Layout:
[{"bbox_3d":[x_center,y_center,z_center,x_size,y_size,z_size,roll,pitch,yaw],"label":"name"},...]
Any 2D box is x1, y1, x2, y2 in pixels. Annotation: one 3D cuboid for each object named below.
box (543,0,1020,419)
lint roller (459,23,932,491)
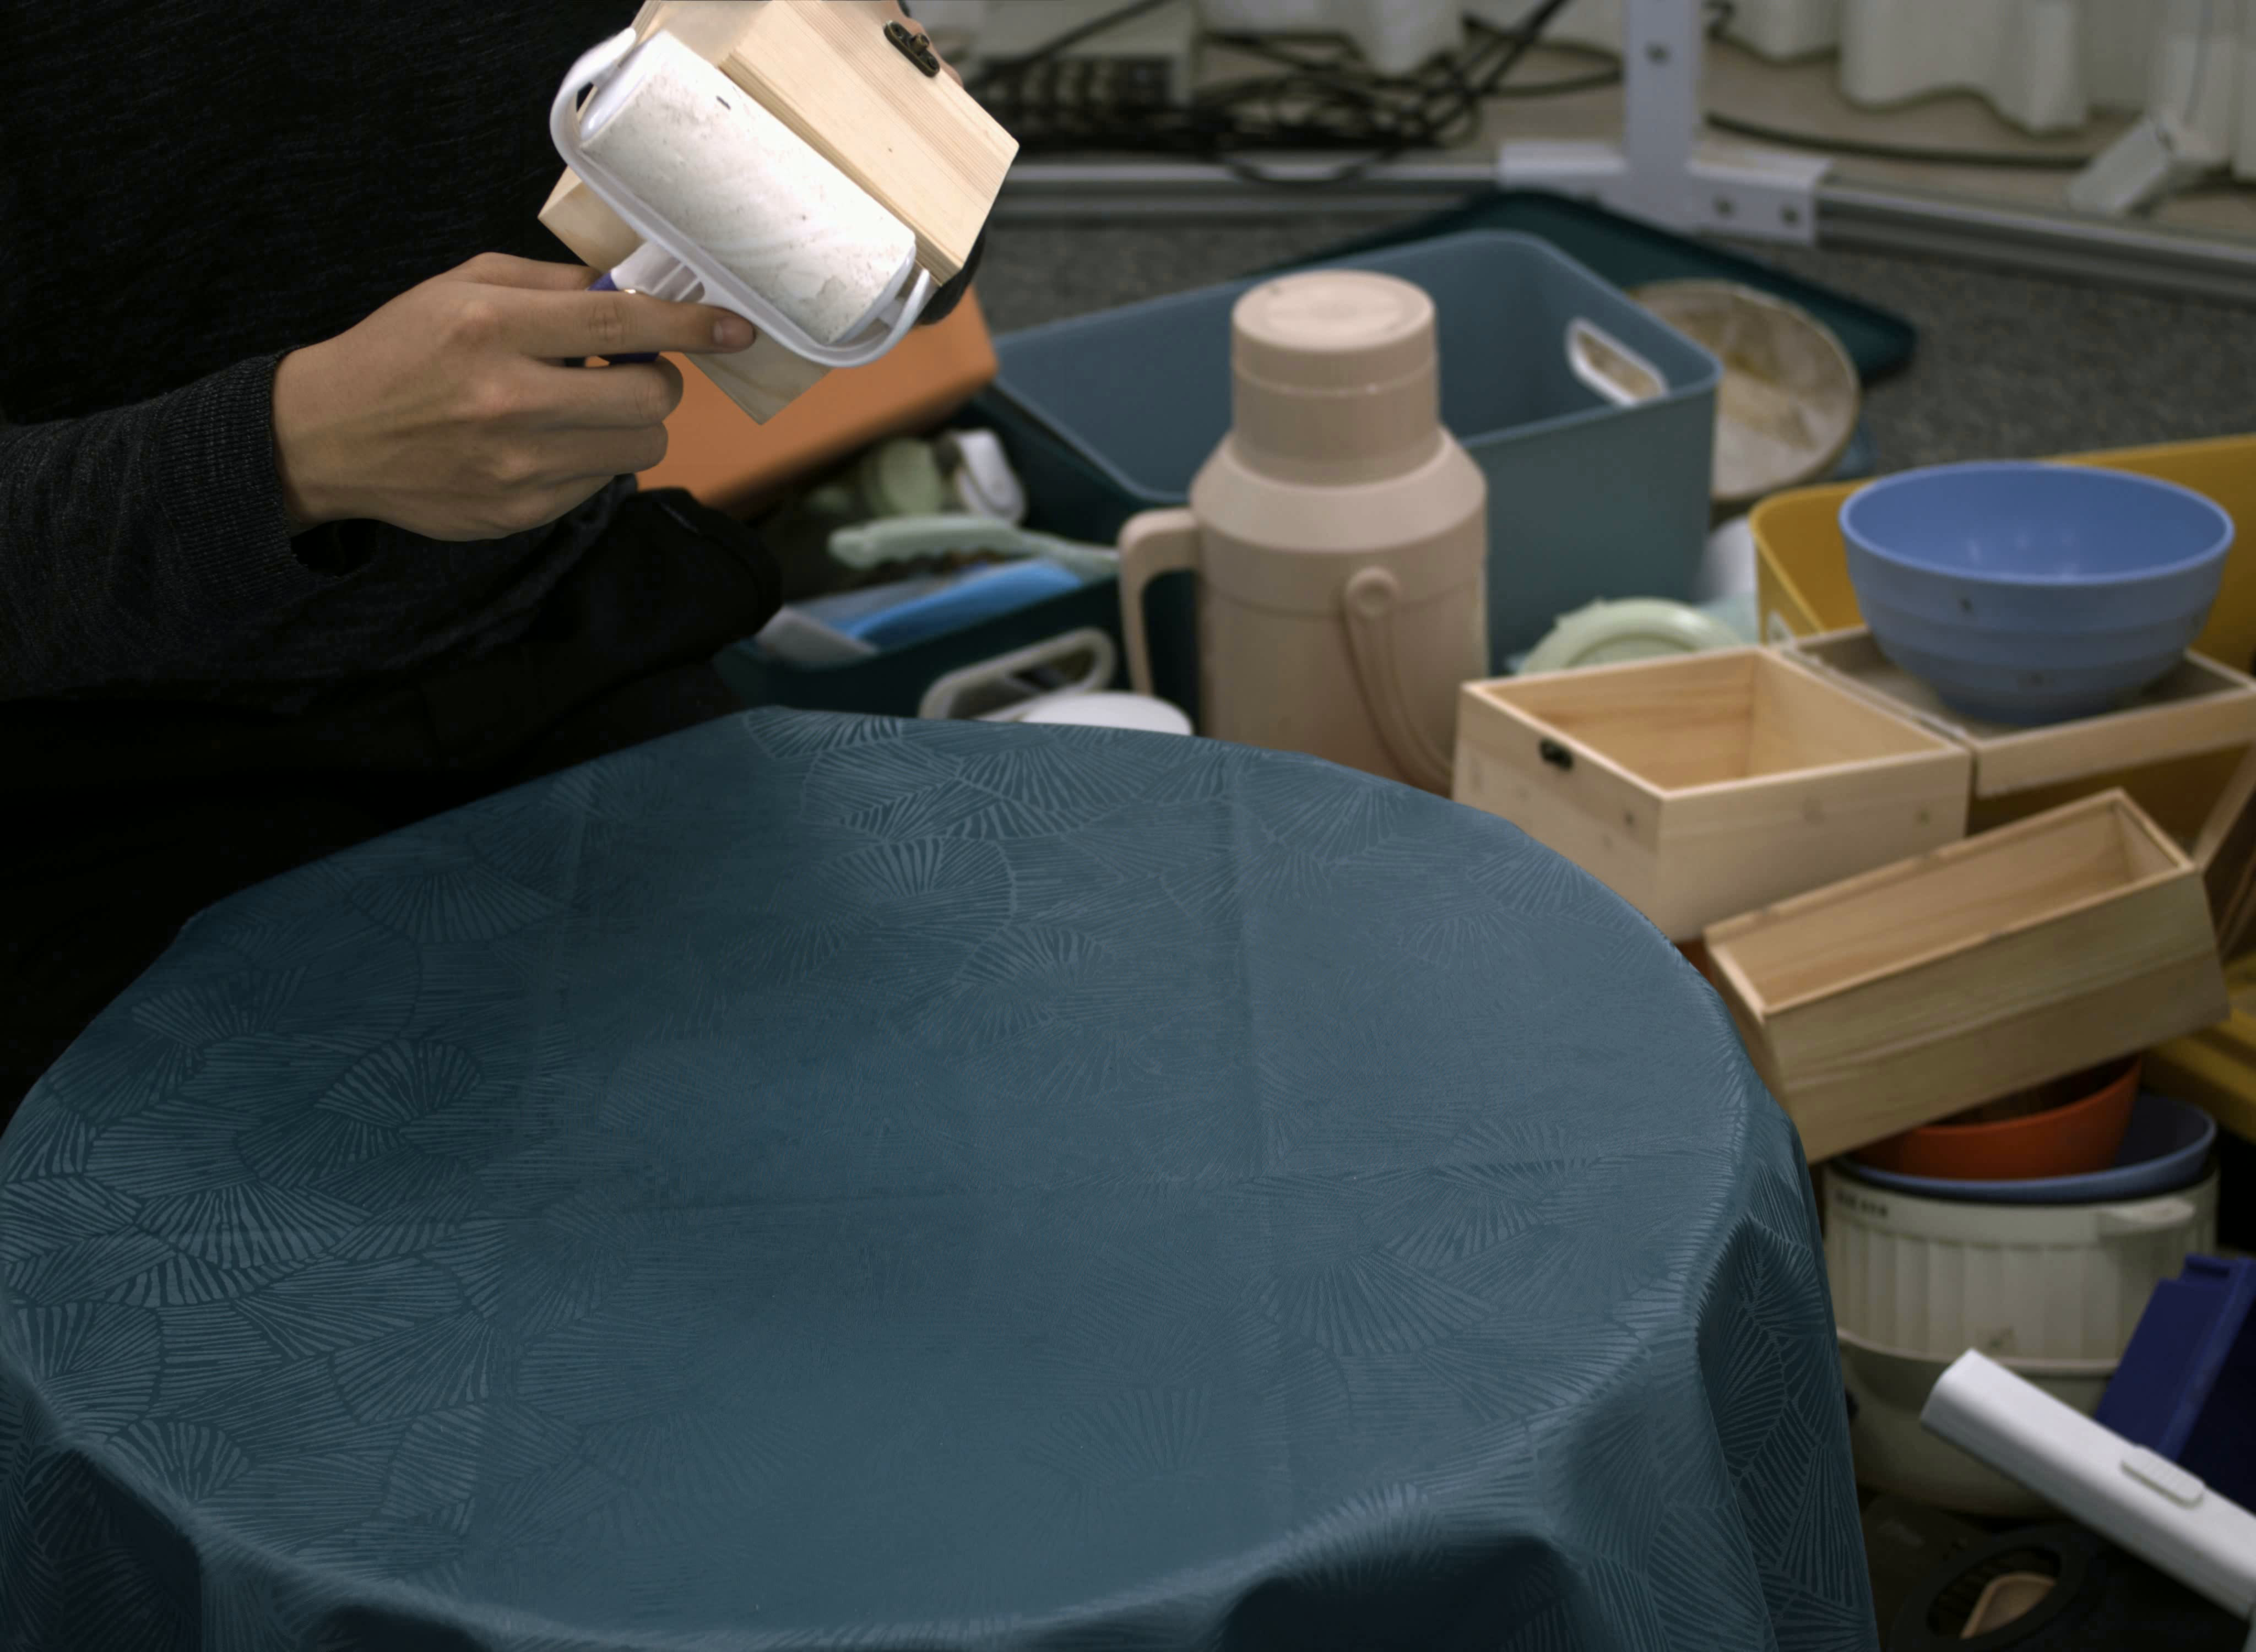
[{"bbox_3d":[-0.106,-0.239,1.881,0.132,0.102,0.188,-35,21,34],"label":"box"},{"bbox_3d":[-0.161,-0.161,1.794,0.132,0.178,0.051,40,26,-15],"label":"lint roller"}]
